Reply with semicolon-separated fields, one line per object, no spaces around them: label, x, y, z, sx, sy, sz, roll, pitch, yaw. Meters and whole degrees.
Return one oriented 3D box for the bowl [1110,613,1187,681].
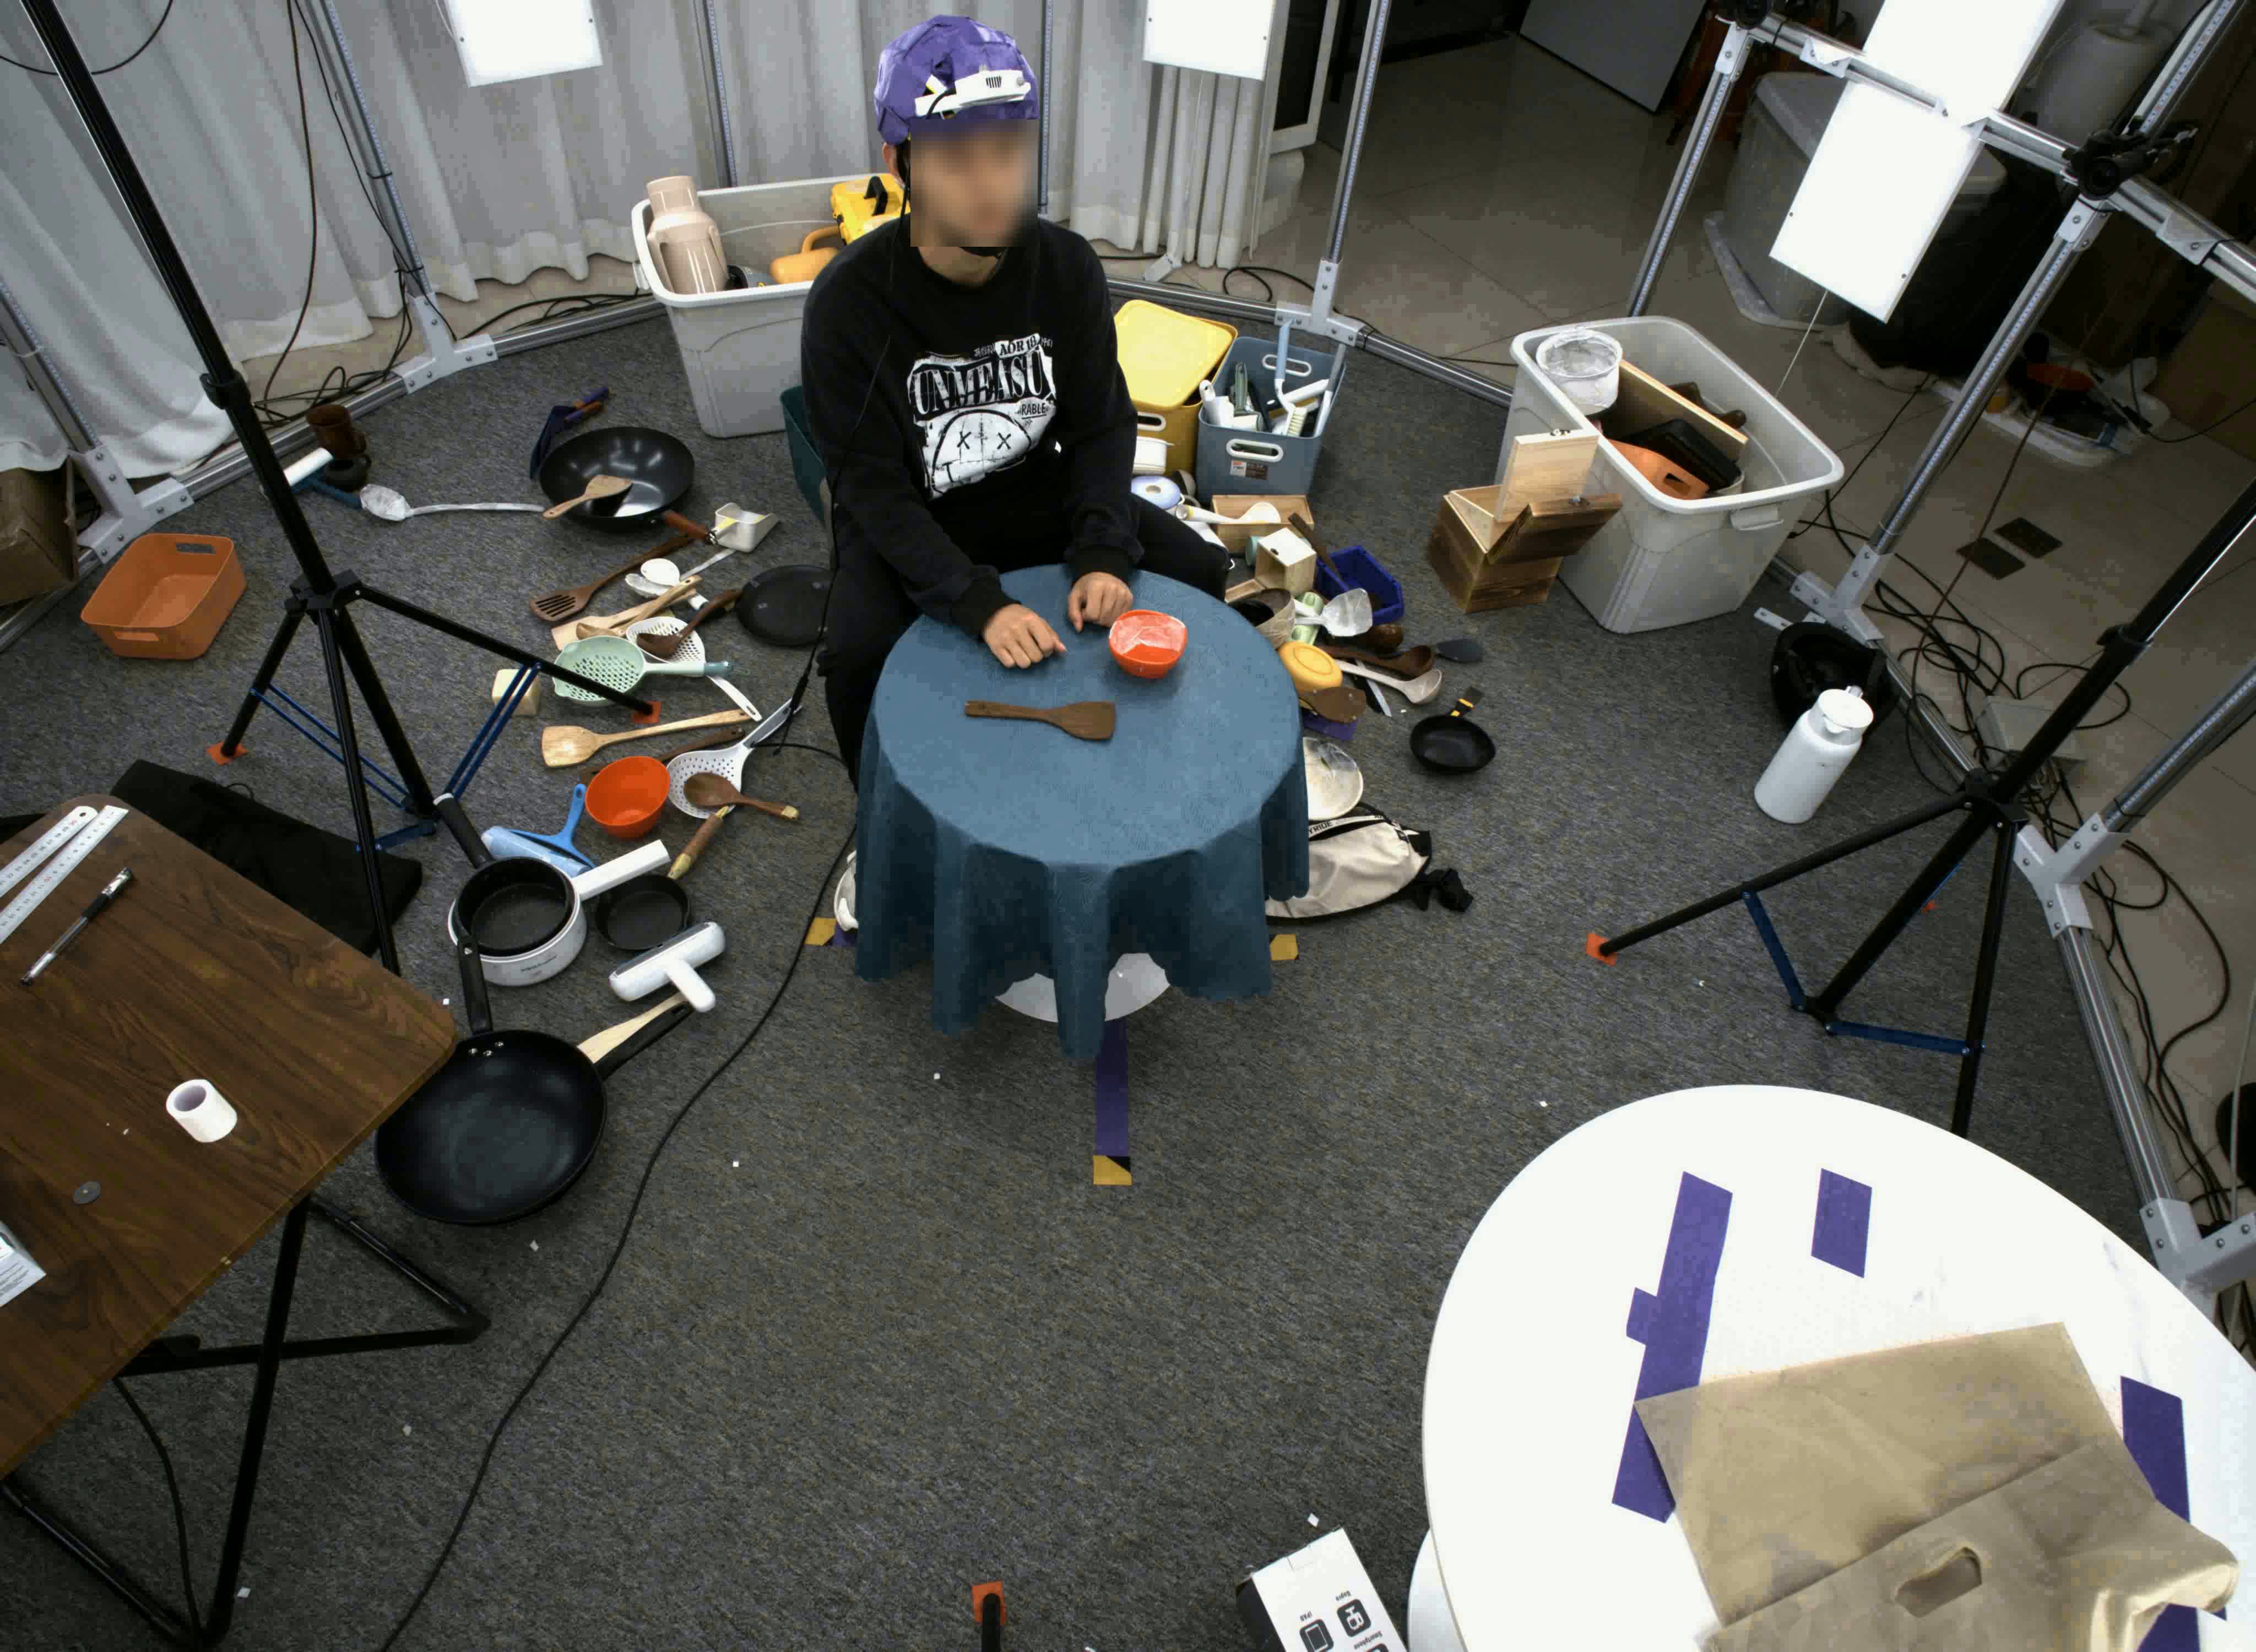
bowl;0.029;-0.256;1.878;0.119;0.050;0.122;2;50;-2

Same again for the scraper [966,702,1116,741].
scraper;-0.122;-0.155;1.806;0.211;0.010;0.077;6;47;2
